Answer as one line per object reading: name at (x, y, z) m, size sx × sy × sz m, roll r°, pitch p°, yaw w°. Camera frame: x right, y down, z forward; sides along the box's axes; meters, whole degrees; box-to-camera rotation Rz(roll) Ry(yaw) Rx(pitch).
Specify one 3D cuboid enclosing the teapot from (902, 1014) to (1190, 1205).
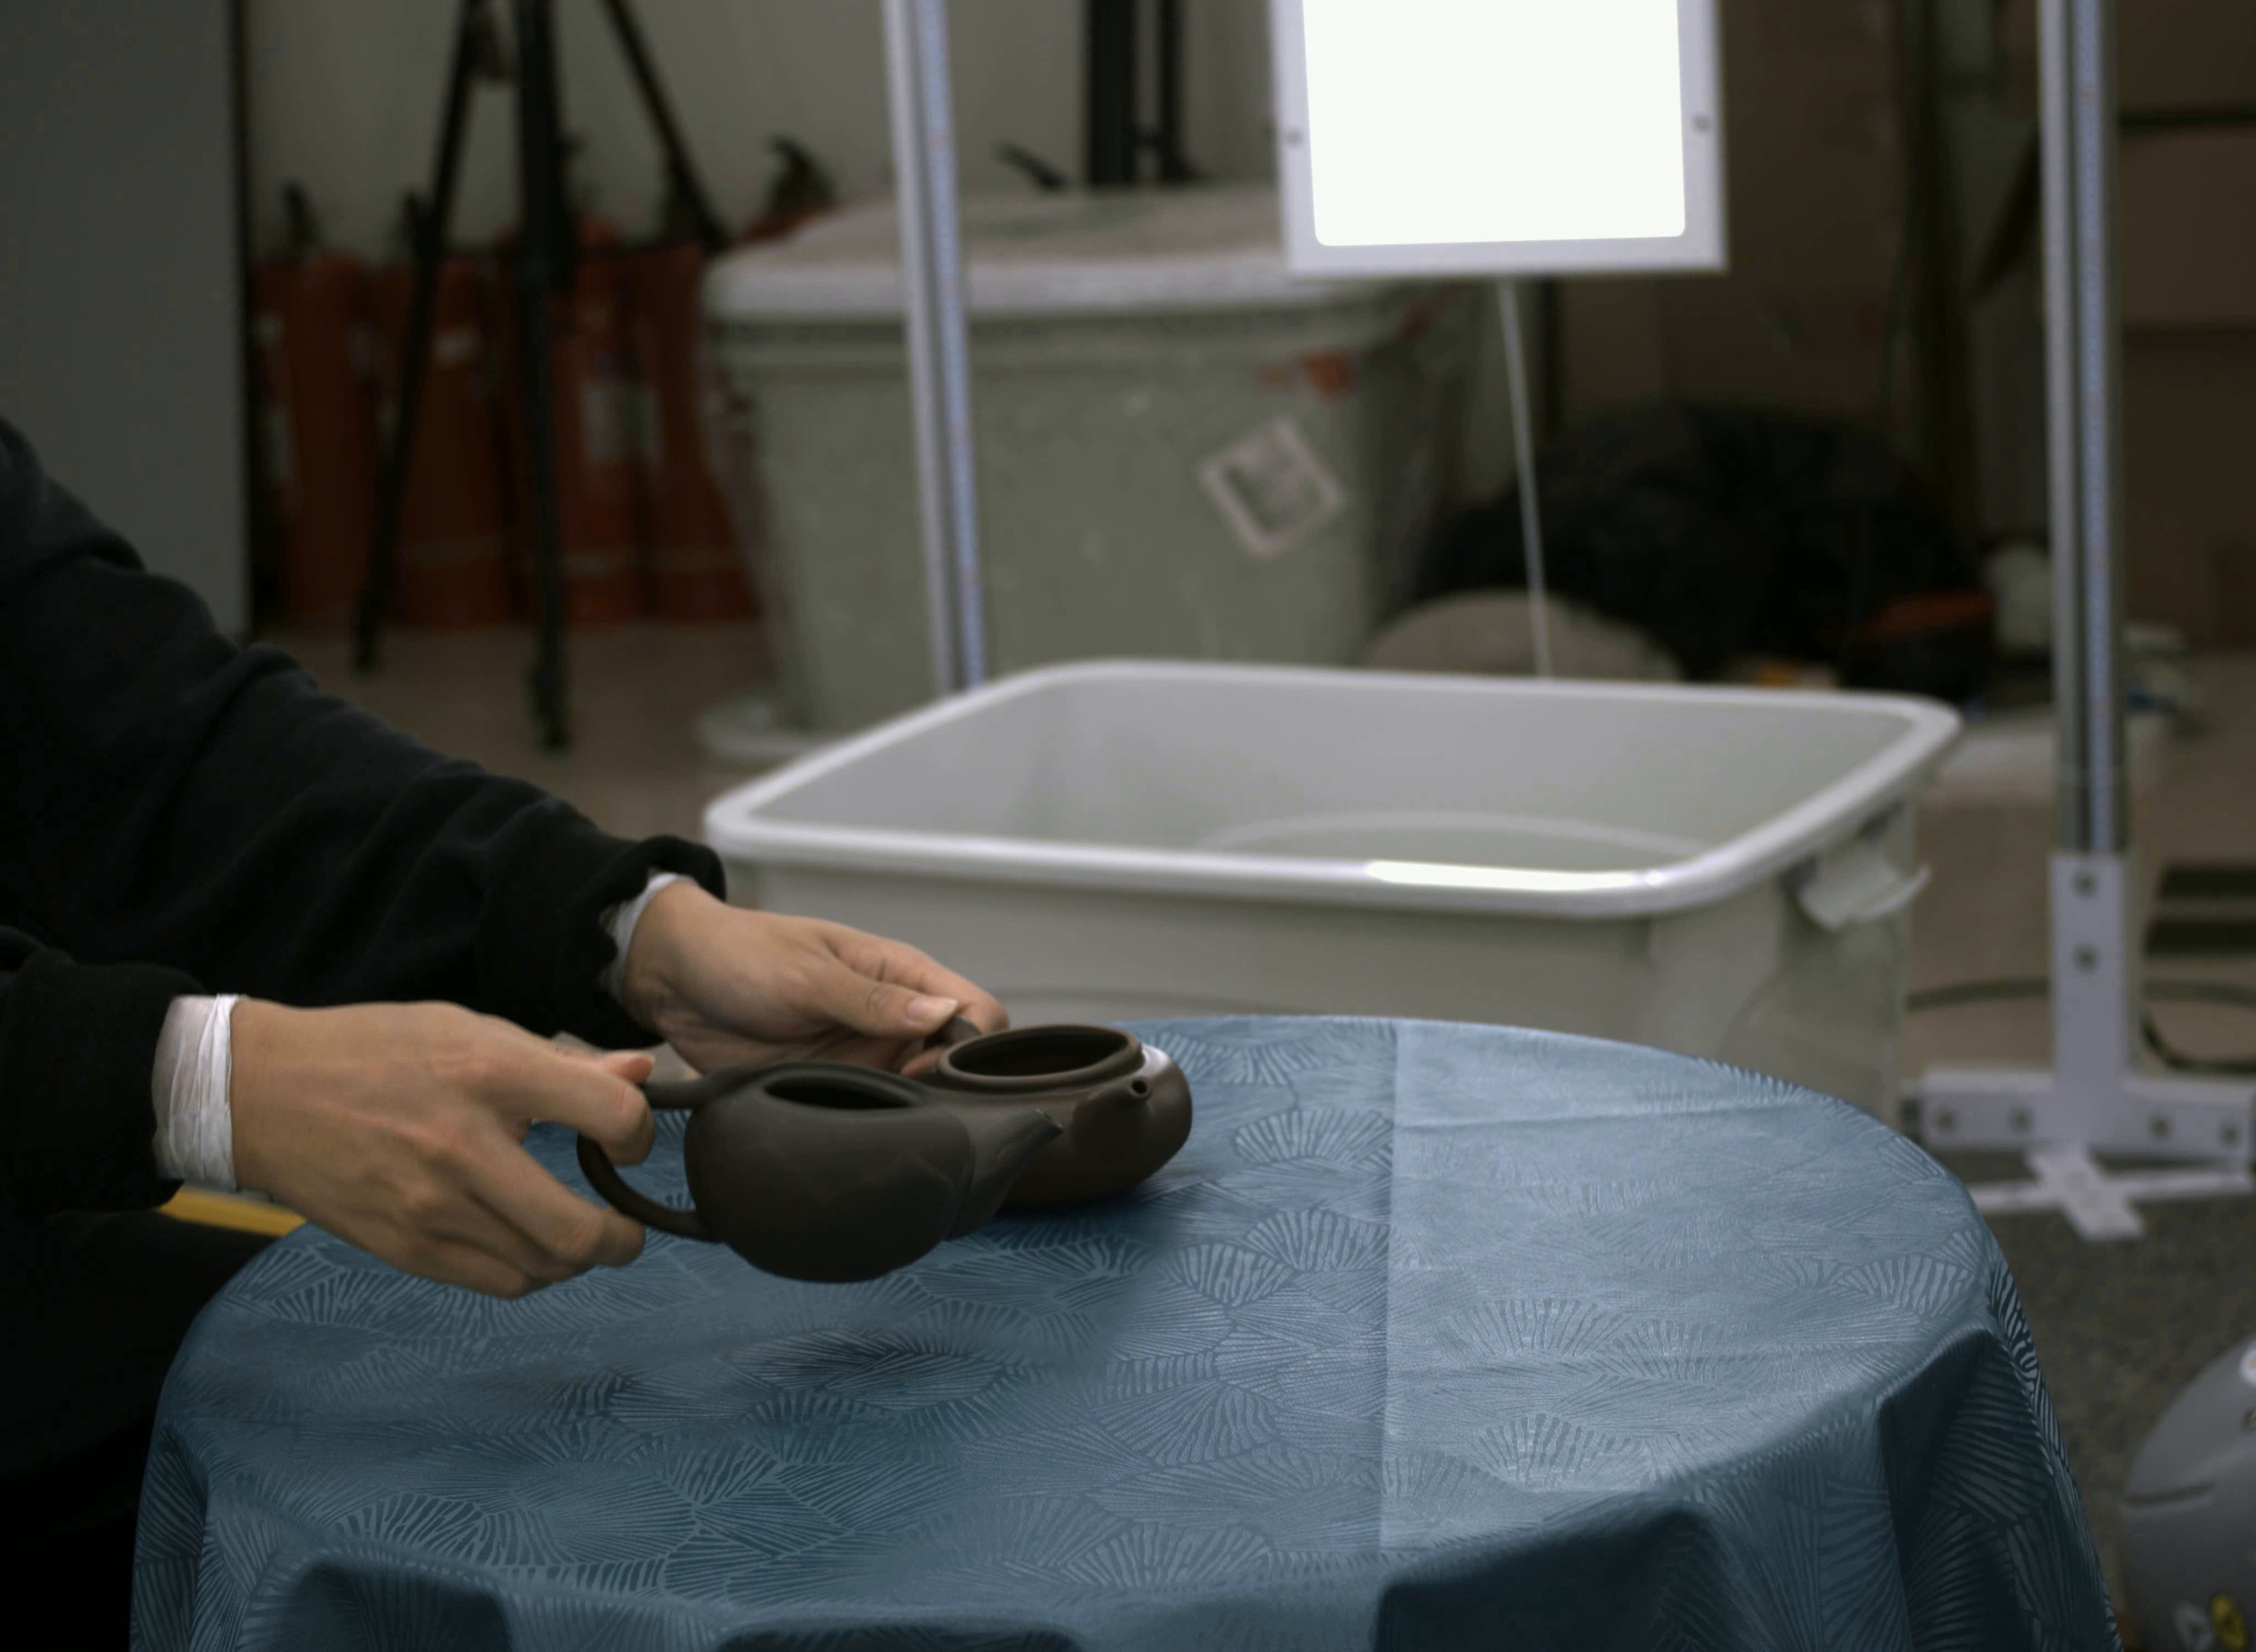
teapot at (-0.032, 0.098, 1.914) m, size 0.100 × 0.054 × 0.156 m, roll -12°, pitch 15°, yaw -32°

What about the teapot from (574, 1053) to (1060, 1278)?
teapot at (-0.099, 0.106, 1.745) m, size 0.153 × 0.065 × 0.092 m, roll 5°, pitch 10°, yaw -8°
